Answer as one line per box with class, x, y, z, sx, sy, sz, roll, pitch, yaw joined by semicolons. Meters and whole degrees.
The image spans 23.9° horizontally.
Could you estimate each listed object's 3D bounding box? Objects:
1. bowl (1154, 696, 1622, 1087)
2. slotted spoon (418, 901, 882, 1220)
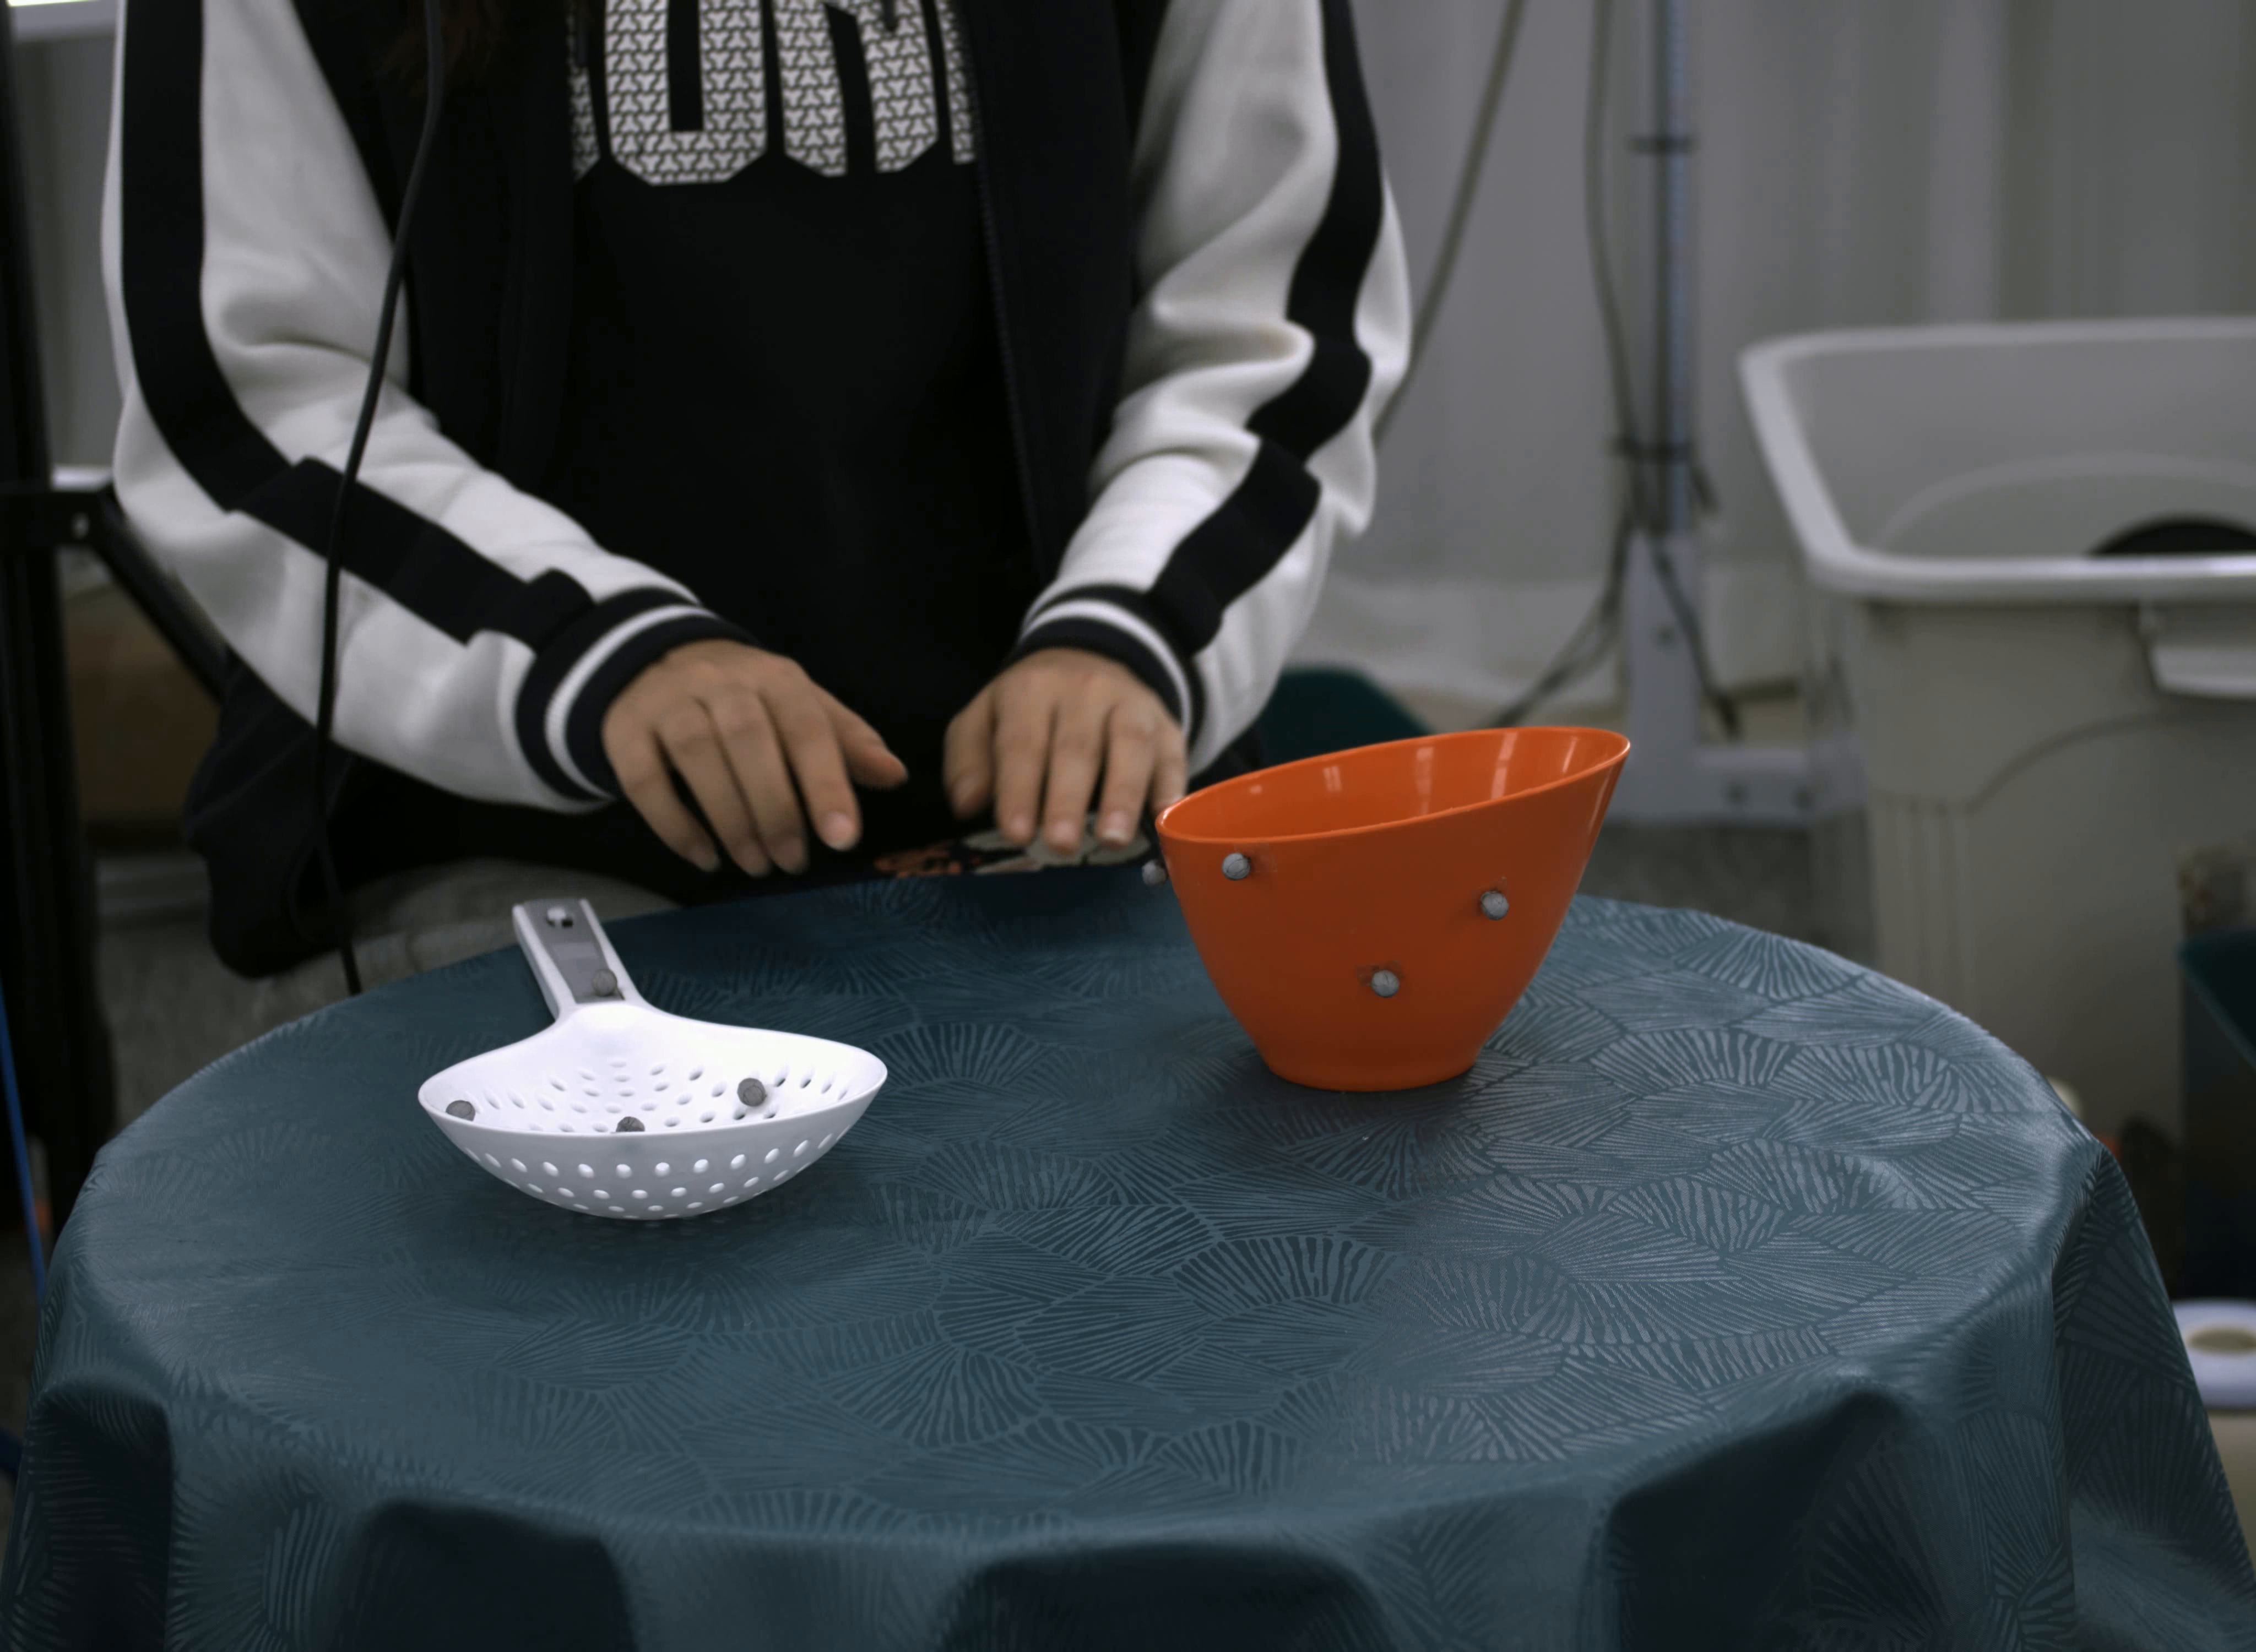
bowl;0.085;0.023;1.641;0.147;0.104;0.149;-9;18;1
slotted spoon;-0.161;0.063;1.661;0.134;0.046;0.354;-4;15;-11
